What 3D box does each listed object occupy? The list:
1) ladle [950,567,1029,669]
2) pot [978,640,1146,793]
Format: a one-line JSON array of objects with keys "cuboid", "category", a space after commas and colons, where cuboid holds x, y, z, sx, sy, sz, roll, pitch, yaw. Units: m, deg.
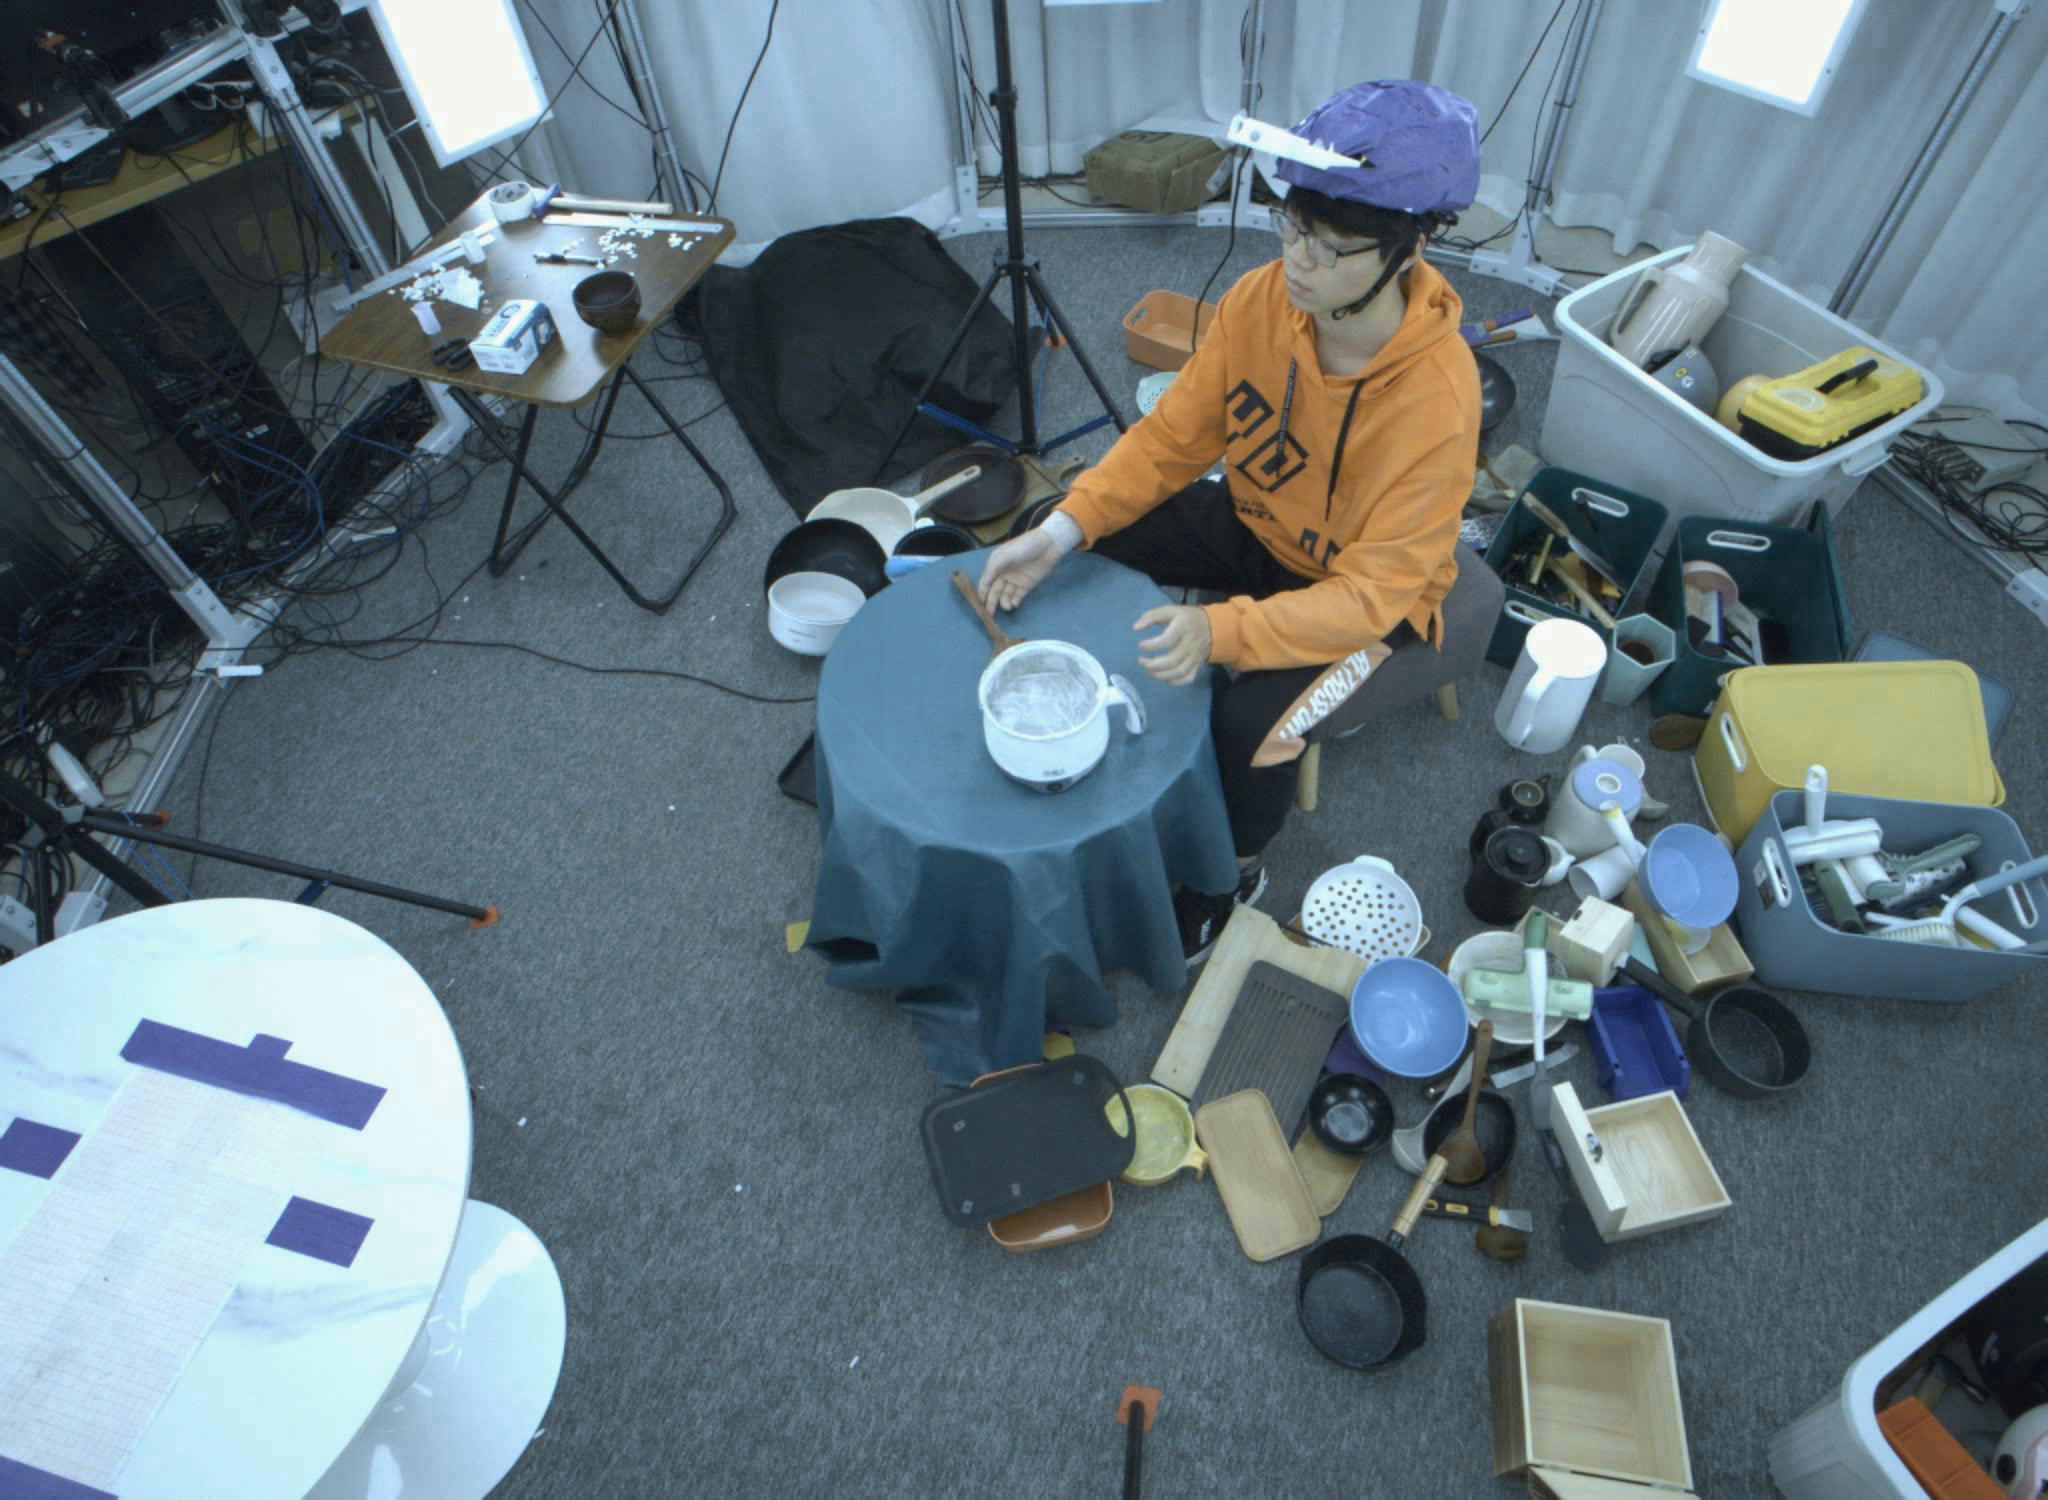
[{"cuboid": [-0.066, -0.211, 1.900, 0.076, 0.066, 0.255, -30, 58, 0], "category": "ladle"}, {"cuboid": [0.056, -0.051, 1.736, 0.234, 0.138, 0.176, -9, 55, -3], "category": "pot"}]
